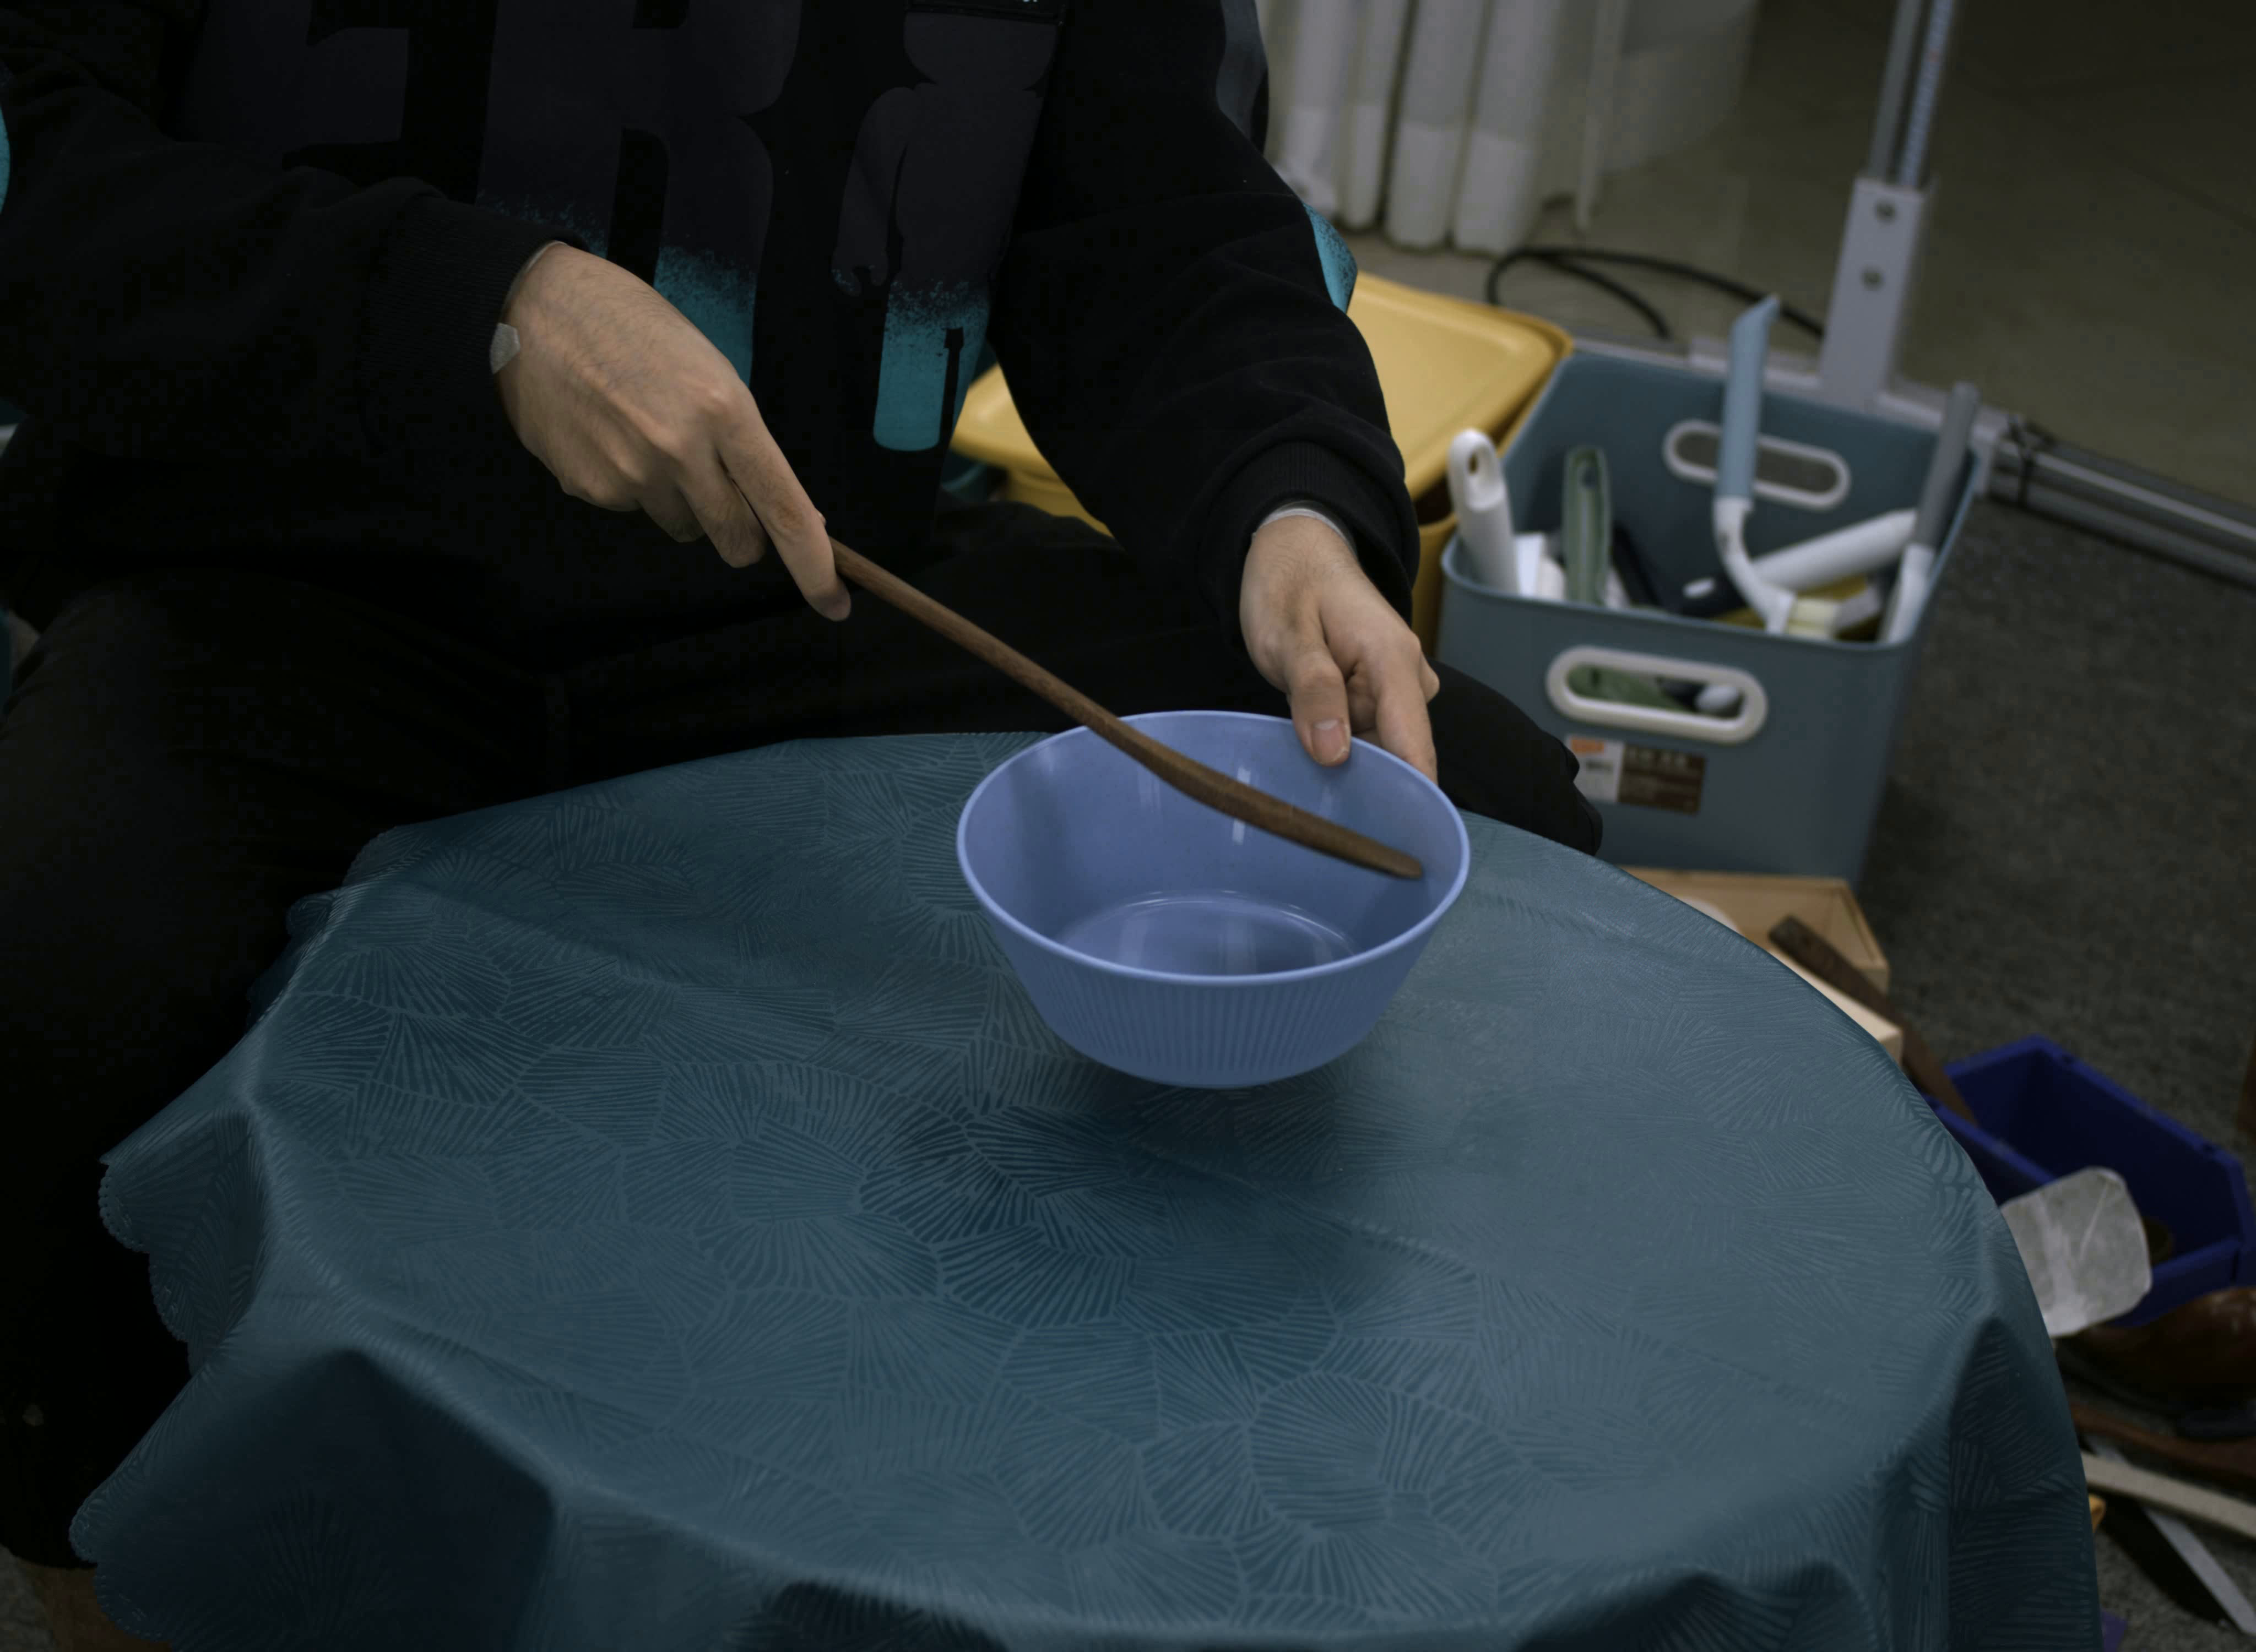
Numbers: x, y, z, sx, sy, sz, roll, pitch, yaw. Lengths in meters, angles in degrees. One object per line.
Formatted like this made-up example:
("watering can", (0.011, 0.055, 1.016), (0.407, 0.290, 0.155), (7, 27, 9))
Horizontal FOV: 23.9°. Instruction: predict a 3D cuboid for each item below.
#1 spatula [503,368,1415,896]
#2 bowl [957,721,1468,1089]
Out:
("spatula", (-0.065, -0.071, 1.864), (0.387, 0.016, 0.095), (31, 6, 18))
("bowl", (0.029, 0.033, 1.832), (0.175, 0.070, 0.177), (0, 29, -1))
